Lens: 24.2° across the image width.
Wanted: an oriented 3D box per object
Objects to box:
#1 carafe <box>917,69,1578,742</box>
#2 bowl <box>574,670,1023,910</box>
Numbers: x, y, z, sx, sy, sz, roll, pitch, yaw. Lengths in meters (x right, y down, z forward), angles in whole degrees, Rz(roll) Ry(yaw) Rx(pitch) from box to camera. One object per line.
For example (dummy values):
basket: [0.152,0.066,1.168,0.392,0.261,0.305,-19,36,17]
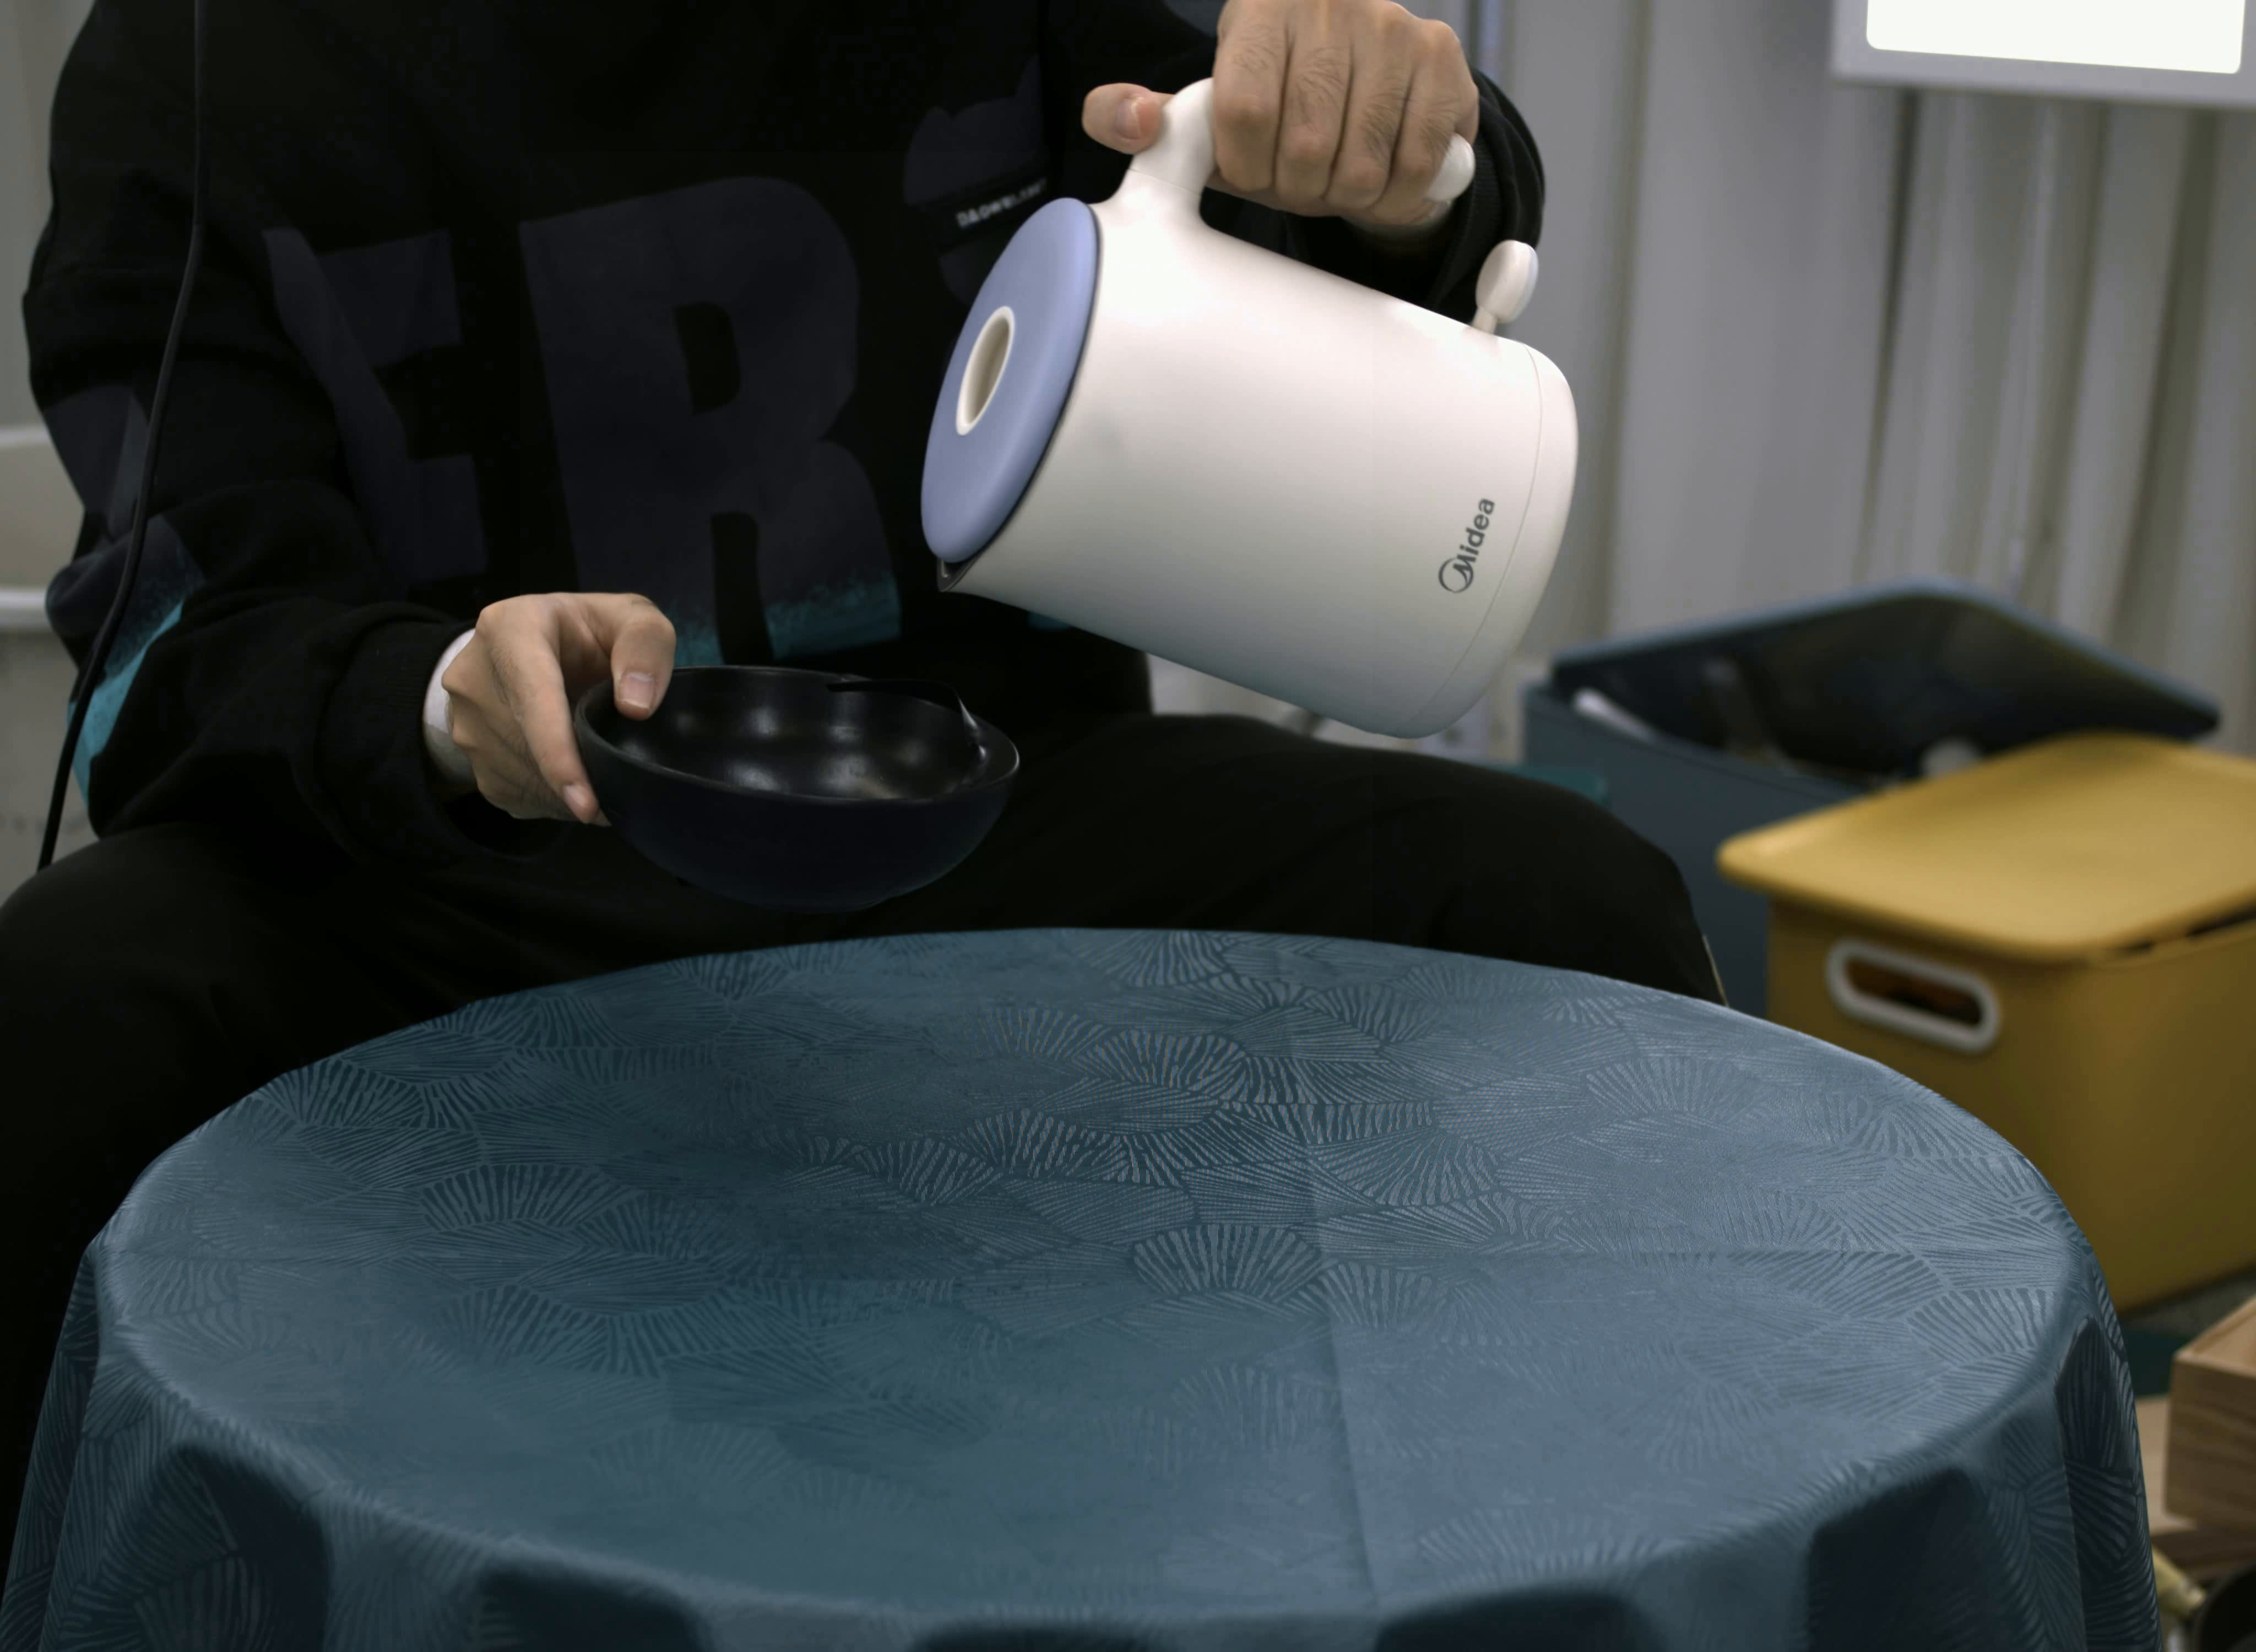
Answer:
carafe: [0.046,-0.135,1.633,0.183,0.191,0.131,22,2,-20]
bowl: [-0.103,-0.007,1.628,0.139,0.050,0.139,6,15,-1]
